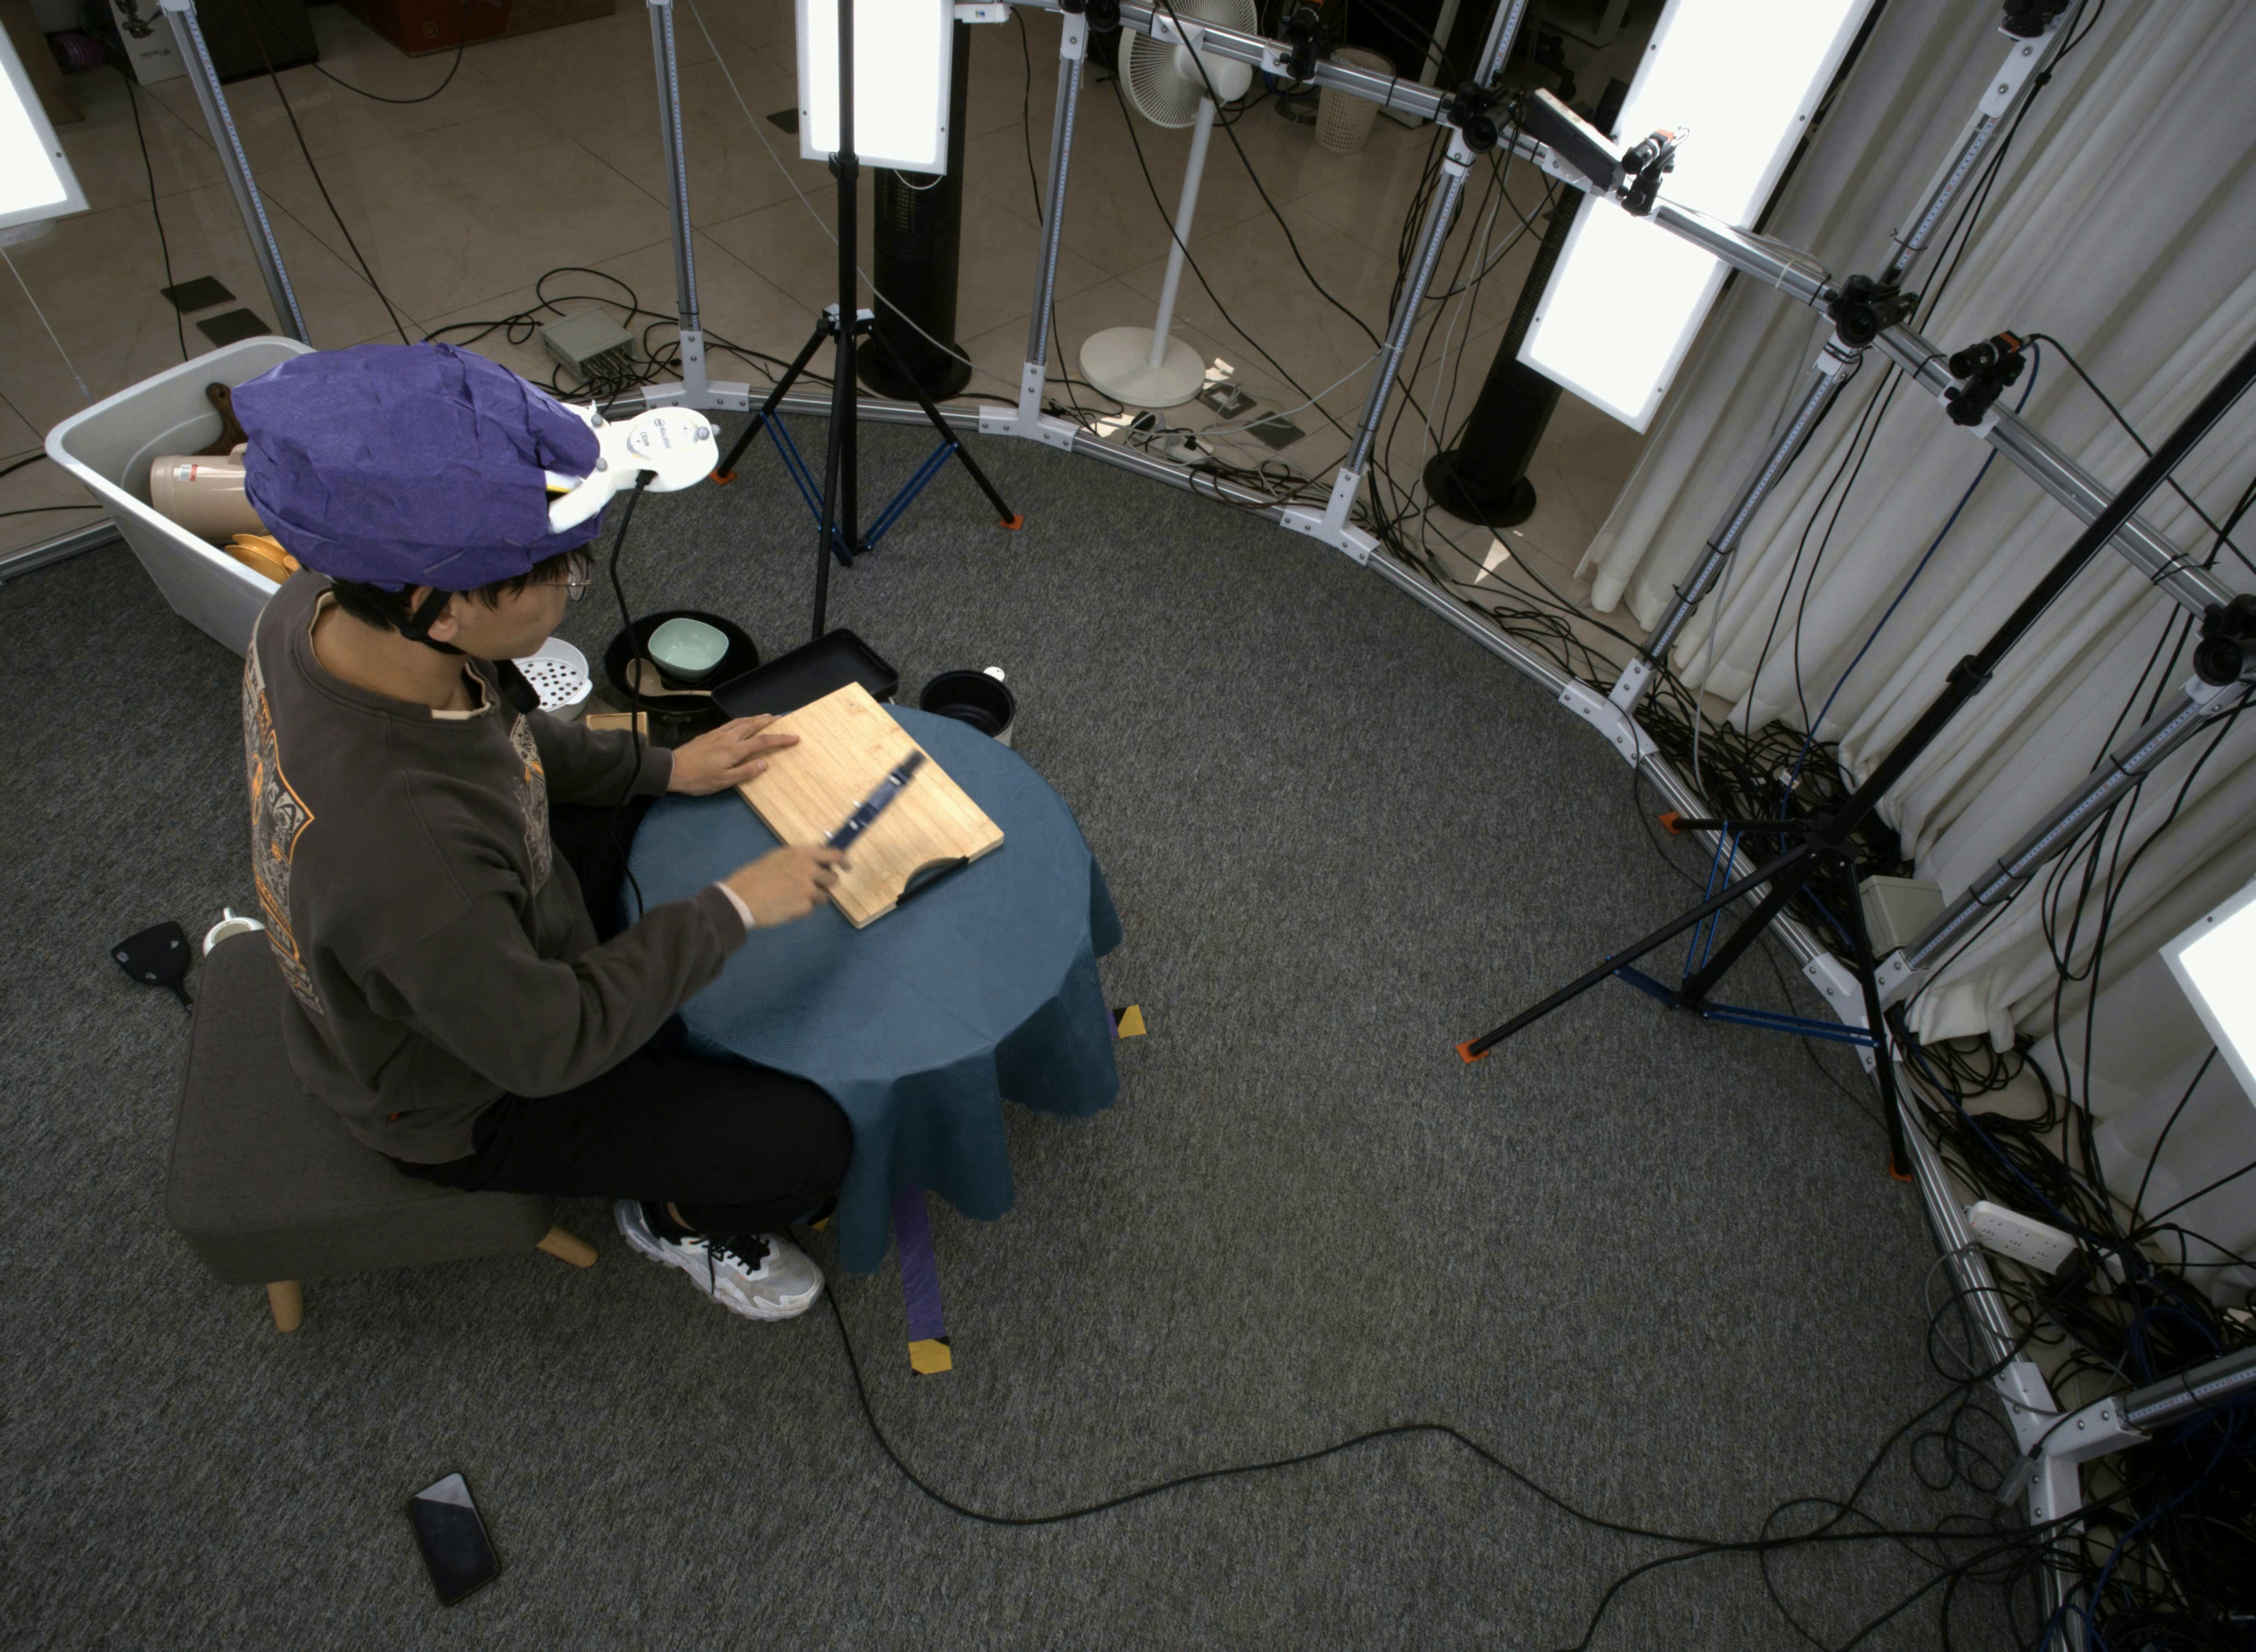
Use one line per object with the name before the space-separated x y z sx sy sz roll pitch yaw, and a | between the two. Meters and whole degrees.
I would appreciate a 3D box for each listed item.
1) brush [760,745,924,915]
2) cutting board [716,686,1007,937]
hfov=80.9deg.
brush | -0.346 0.000 1.582 0.034 0.095 0.271 42 44 -8
cutting board | -0.363 -0.033 1.767 0.251 0.024 0.341 -35 68 -31
